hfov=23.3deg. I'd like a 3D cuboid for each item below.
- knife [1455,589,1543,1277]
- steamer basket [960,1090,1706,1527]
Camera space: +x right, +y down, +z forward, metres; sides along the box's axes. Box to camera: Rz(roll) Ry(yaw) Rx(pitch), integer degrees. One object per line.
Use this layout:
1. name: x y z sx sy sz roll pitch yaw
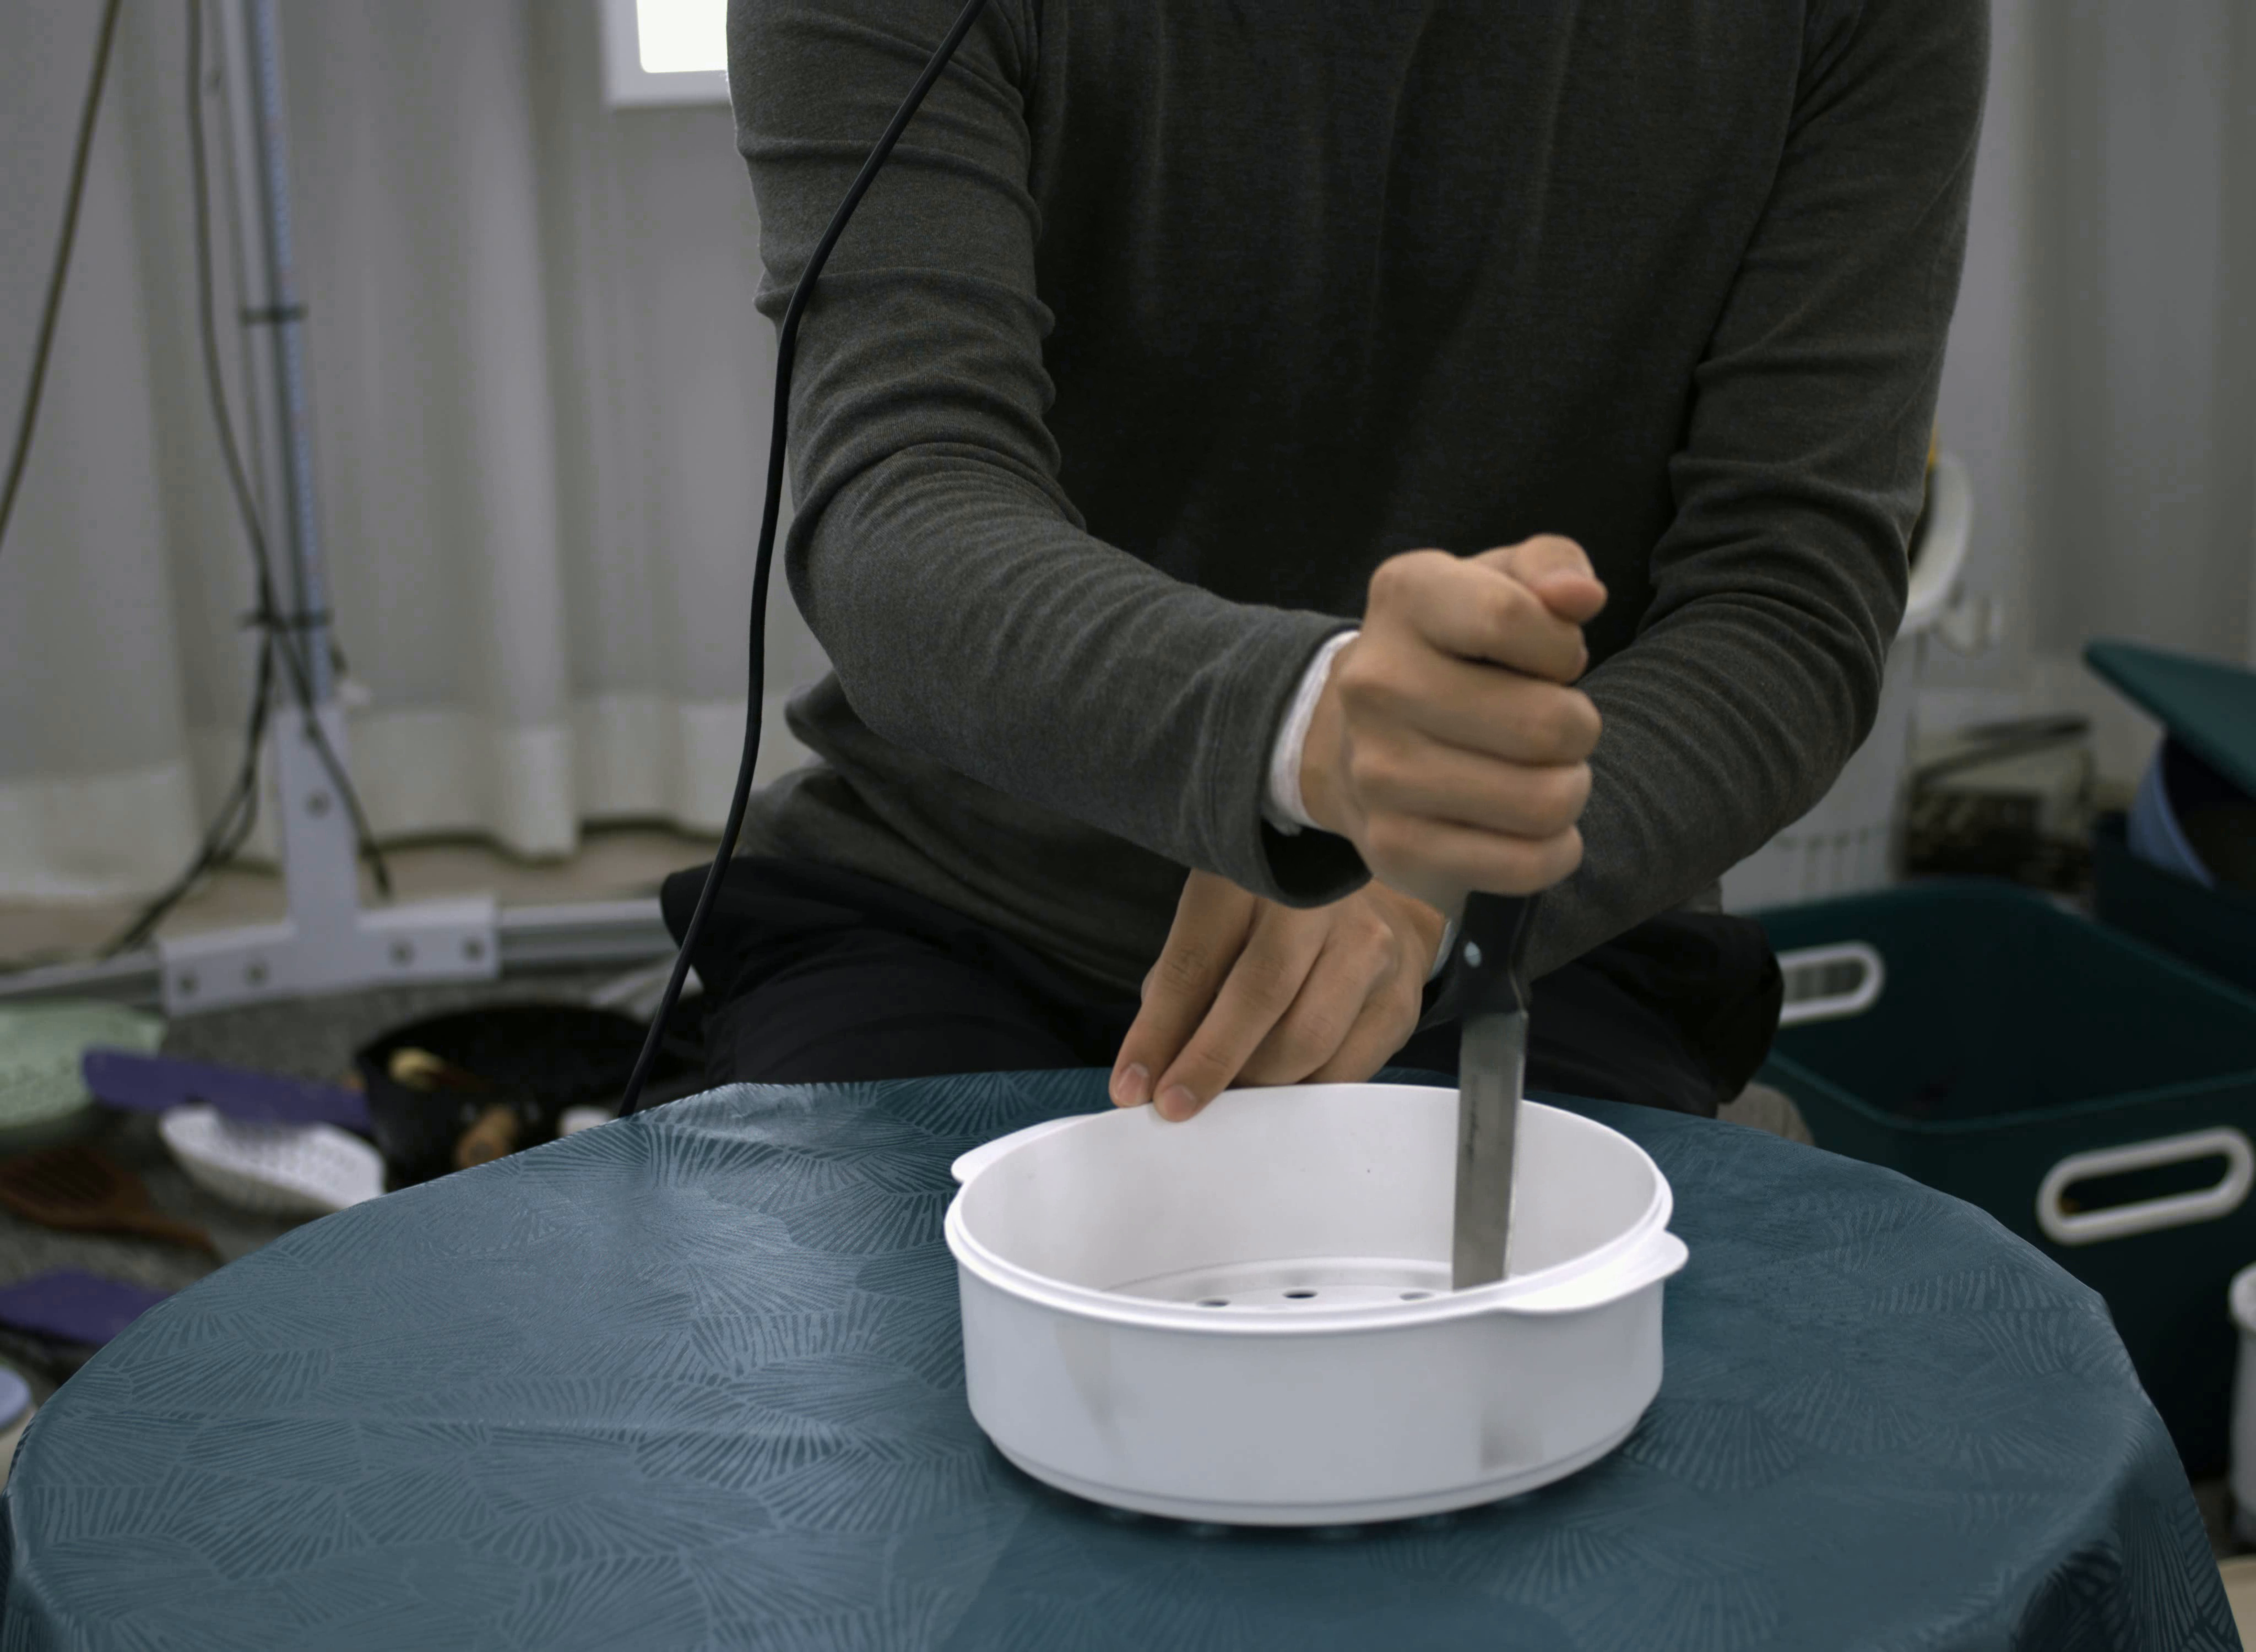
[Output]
1. knife: 0.096 0.051 1.438 0.016 0.237 0.024 -13 22 -35
2. steamer basket: 0.055 0.132 1.508 0.231 0.069 0.201 9 18 41
